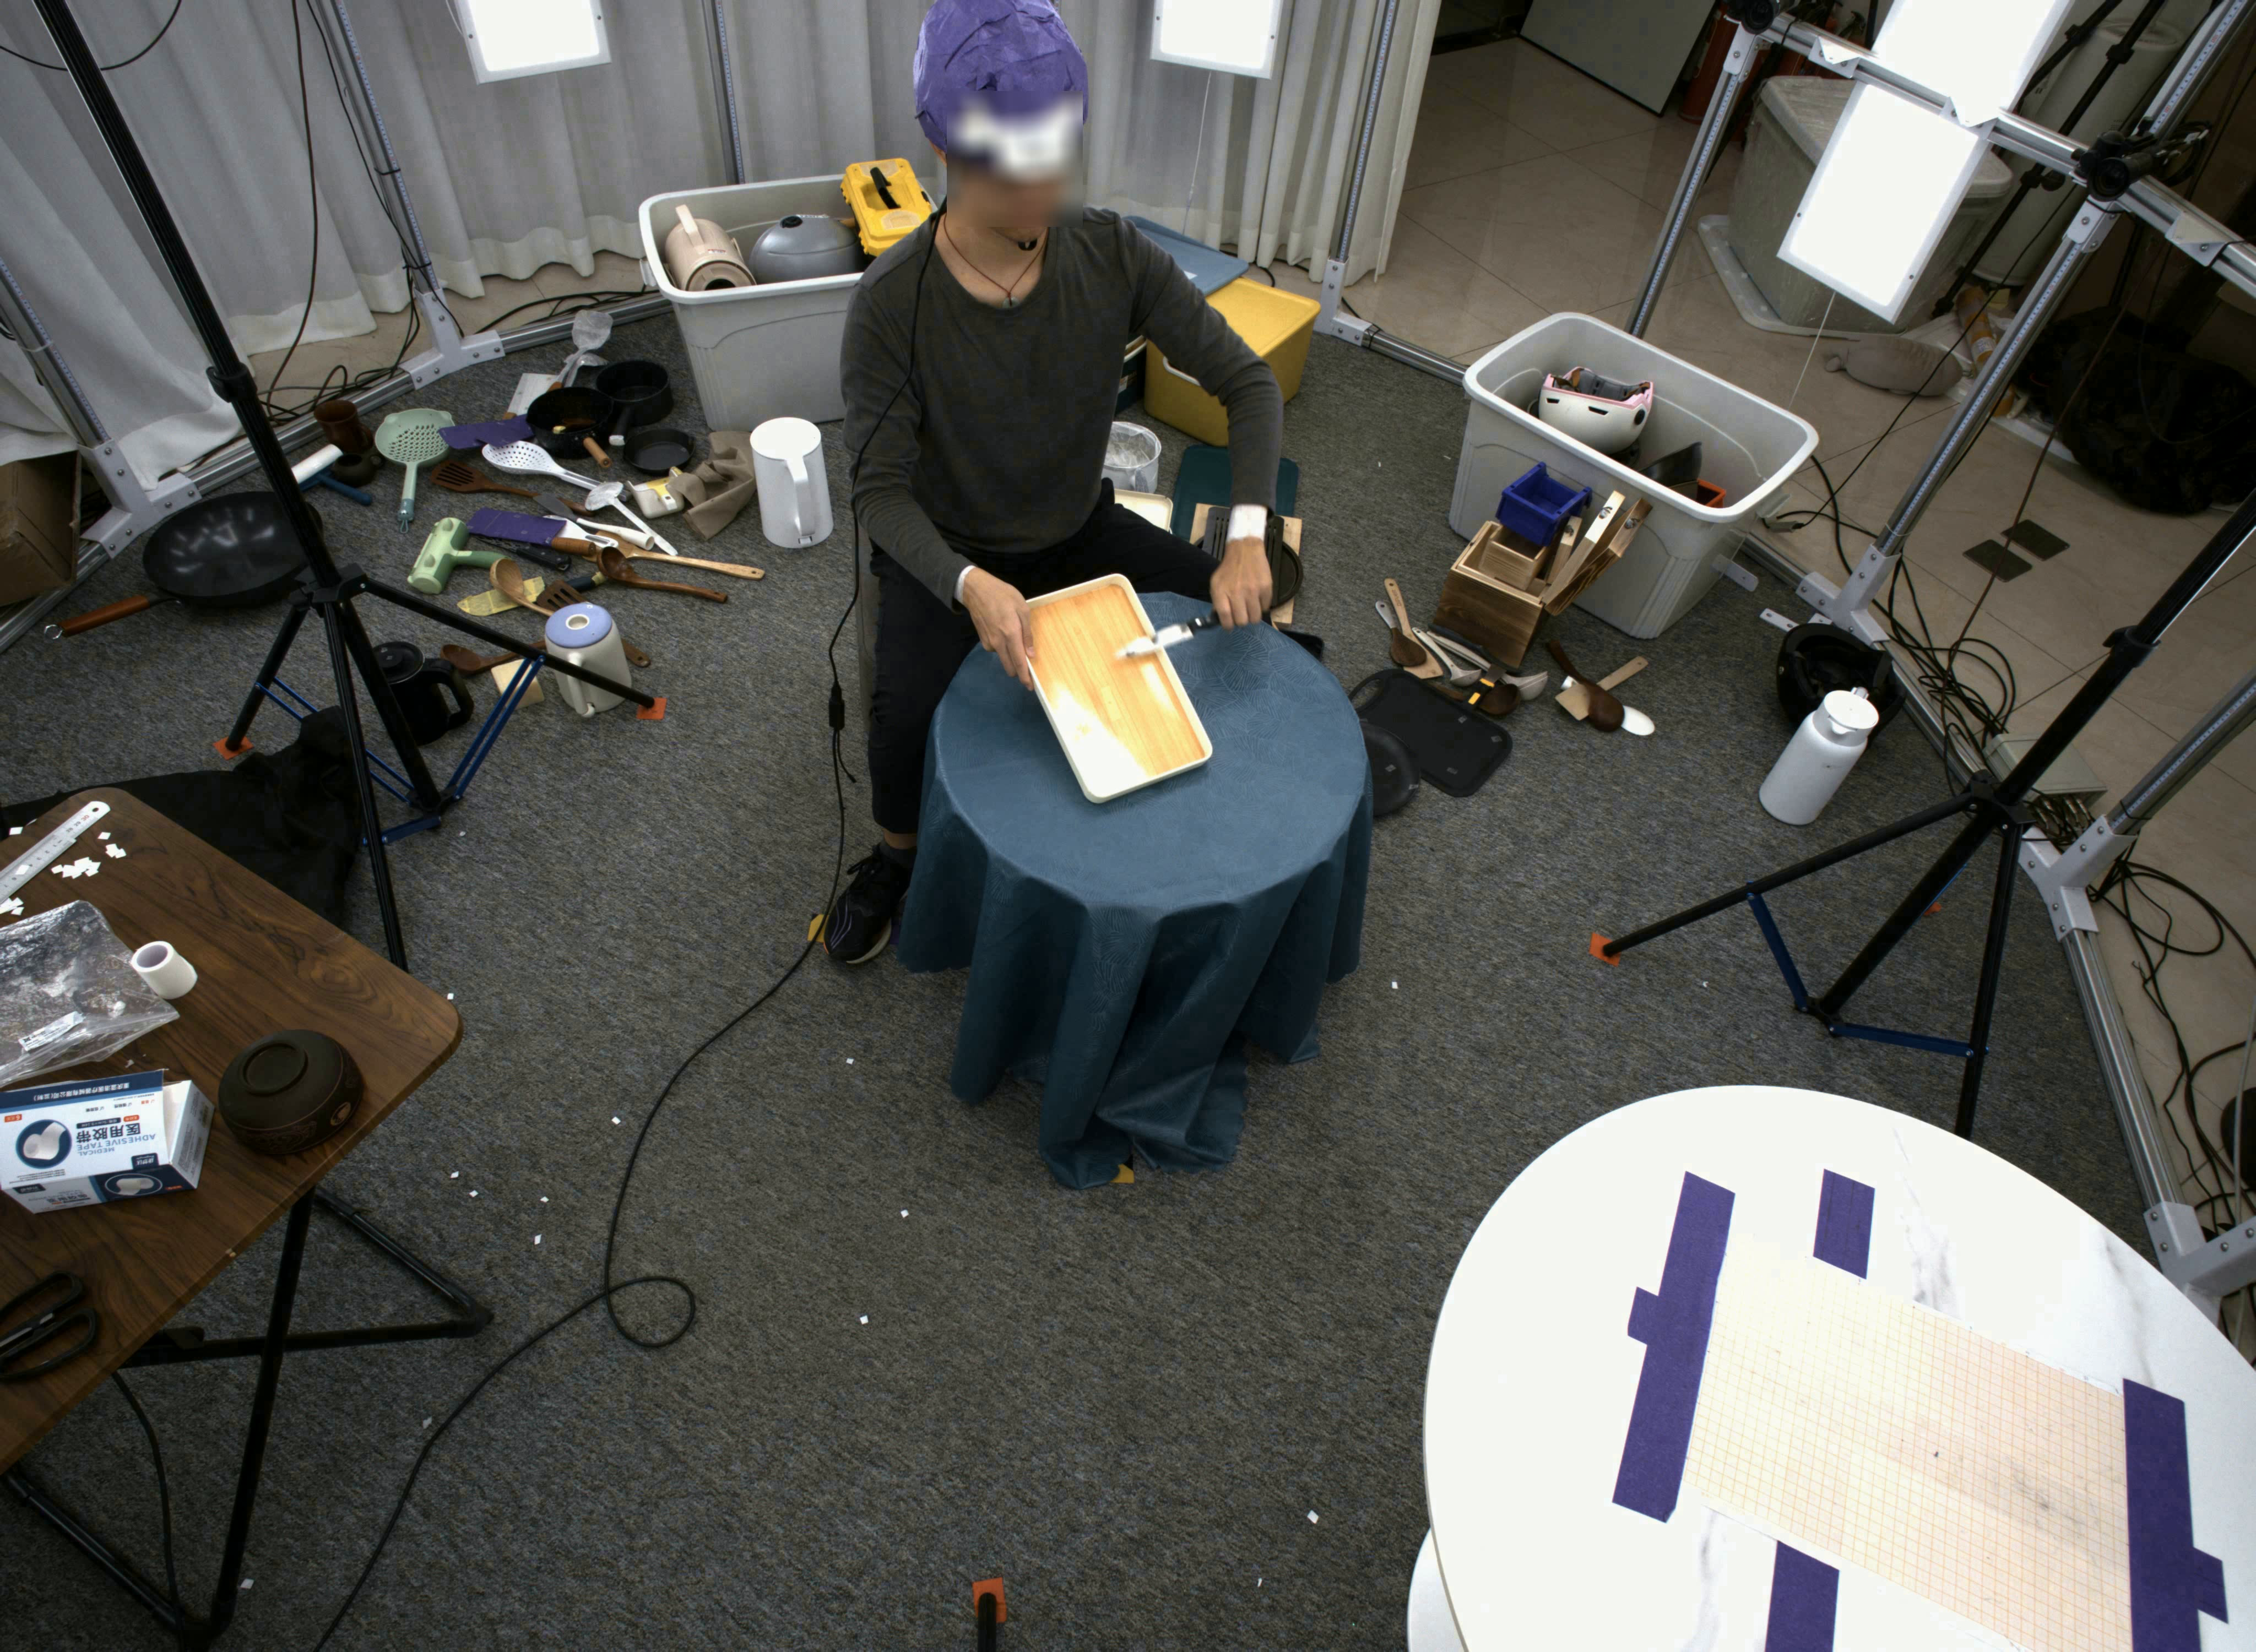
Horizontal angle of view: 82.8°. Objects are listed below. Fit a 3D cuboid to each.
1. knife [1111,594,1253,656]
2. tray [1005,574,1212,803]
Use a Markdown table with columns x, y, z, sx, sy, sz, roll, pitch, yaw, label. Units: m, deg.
| x | y | z | sx | sy | sz | roll | pitch | yaw | label |
| --- | --- | --- | --- | --- | --- | --- | --- | --- | --- |
| 0.075 | -0.281 | 1.792 | 0.239 | 0.016 | 0.024 | -25 | 83 | -24 | knife |
| -0.027 | -0.191 | 1.745 | 0.192 | 0.027 | 0.304 | -20 | 74 | -21 | tray |
